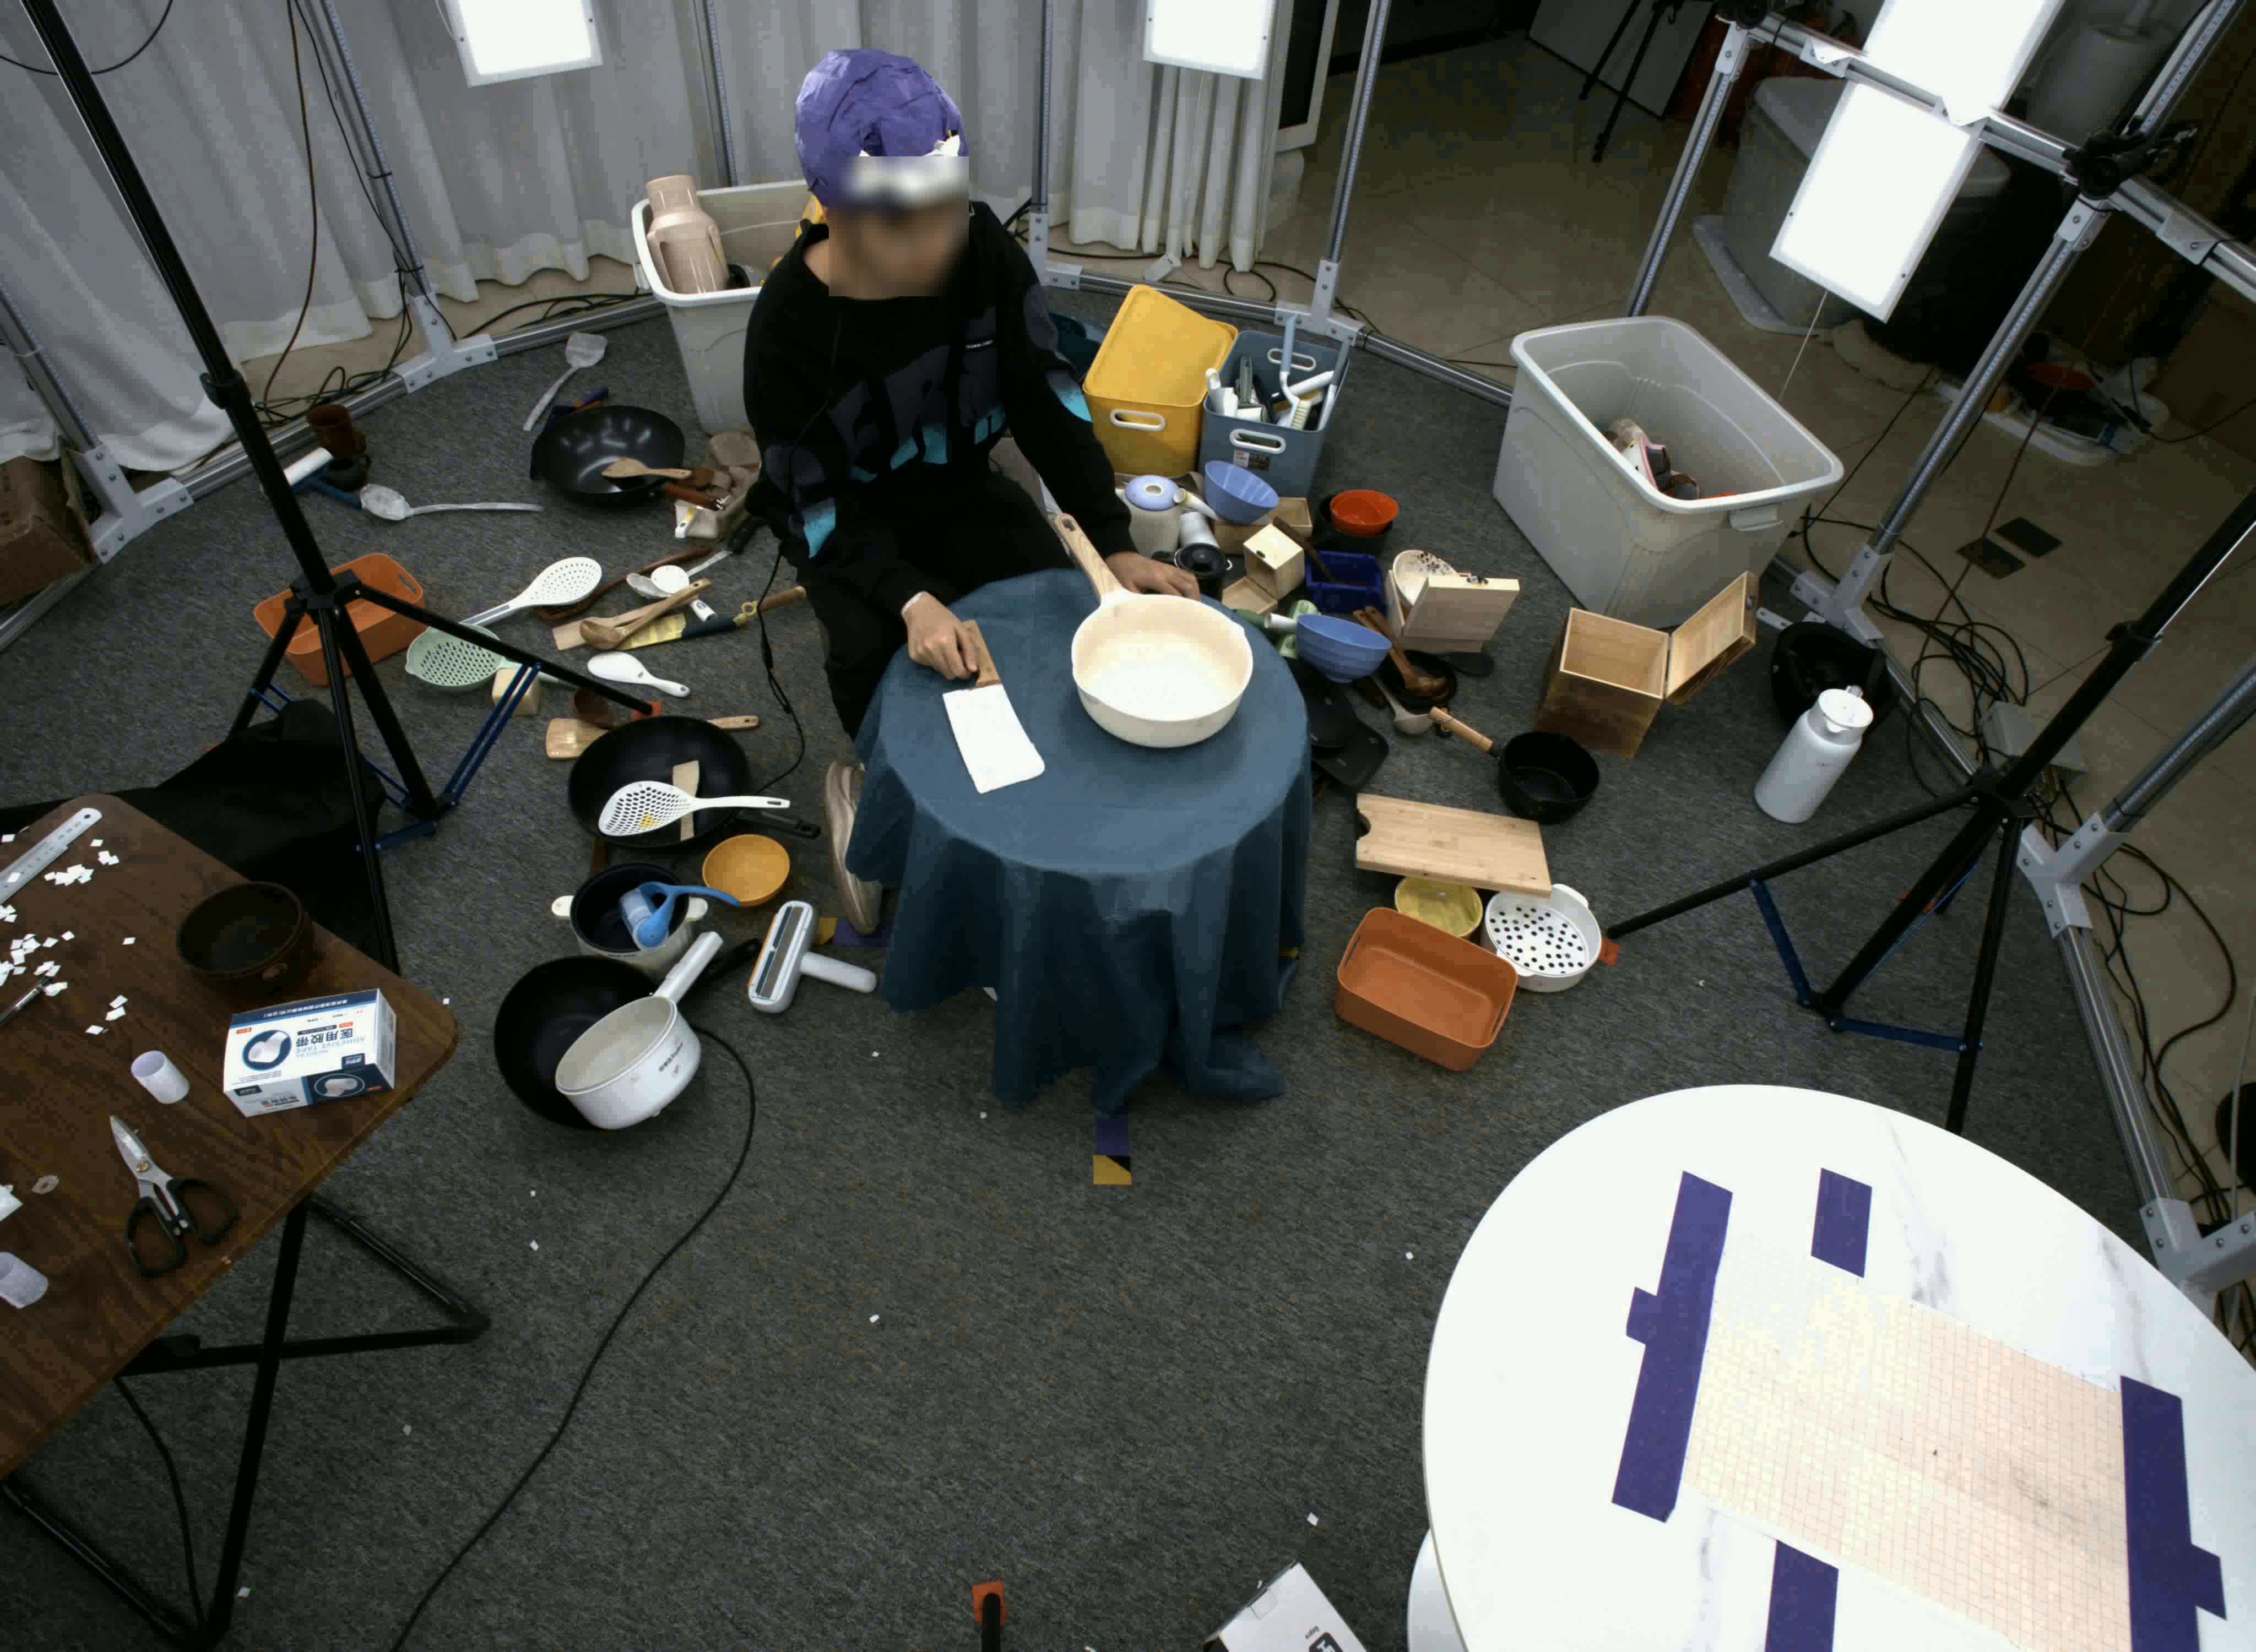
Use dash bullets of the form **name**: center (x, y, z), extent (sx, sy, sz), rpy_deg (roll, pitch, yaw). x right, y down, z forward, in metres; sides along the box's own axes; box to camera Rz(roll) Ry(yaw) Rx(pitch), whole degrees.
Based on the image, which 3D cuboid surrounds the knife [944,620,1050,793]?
- **knife**: center (-0.196, -0.173, 1.794), extent (0.114, 0.021, 0.323), rpy_deg (-11, 53, -13)

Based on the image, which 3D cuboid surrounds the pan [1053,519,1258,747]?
- **pan**: center (0.007, -0.281, 1.850), extent (0.264, 0.099, 0.444), rpy_deg (-23, 54, -19)
